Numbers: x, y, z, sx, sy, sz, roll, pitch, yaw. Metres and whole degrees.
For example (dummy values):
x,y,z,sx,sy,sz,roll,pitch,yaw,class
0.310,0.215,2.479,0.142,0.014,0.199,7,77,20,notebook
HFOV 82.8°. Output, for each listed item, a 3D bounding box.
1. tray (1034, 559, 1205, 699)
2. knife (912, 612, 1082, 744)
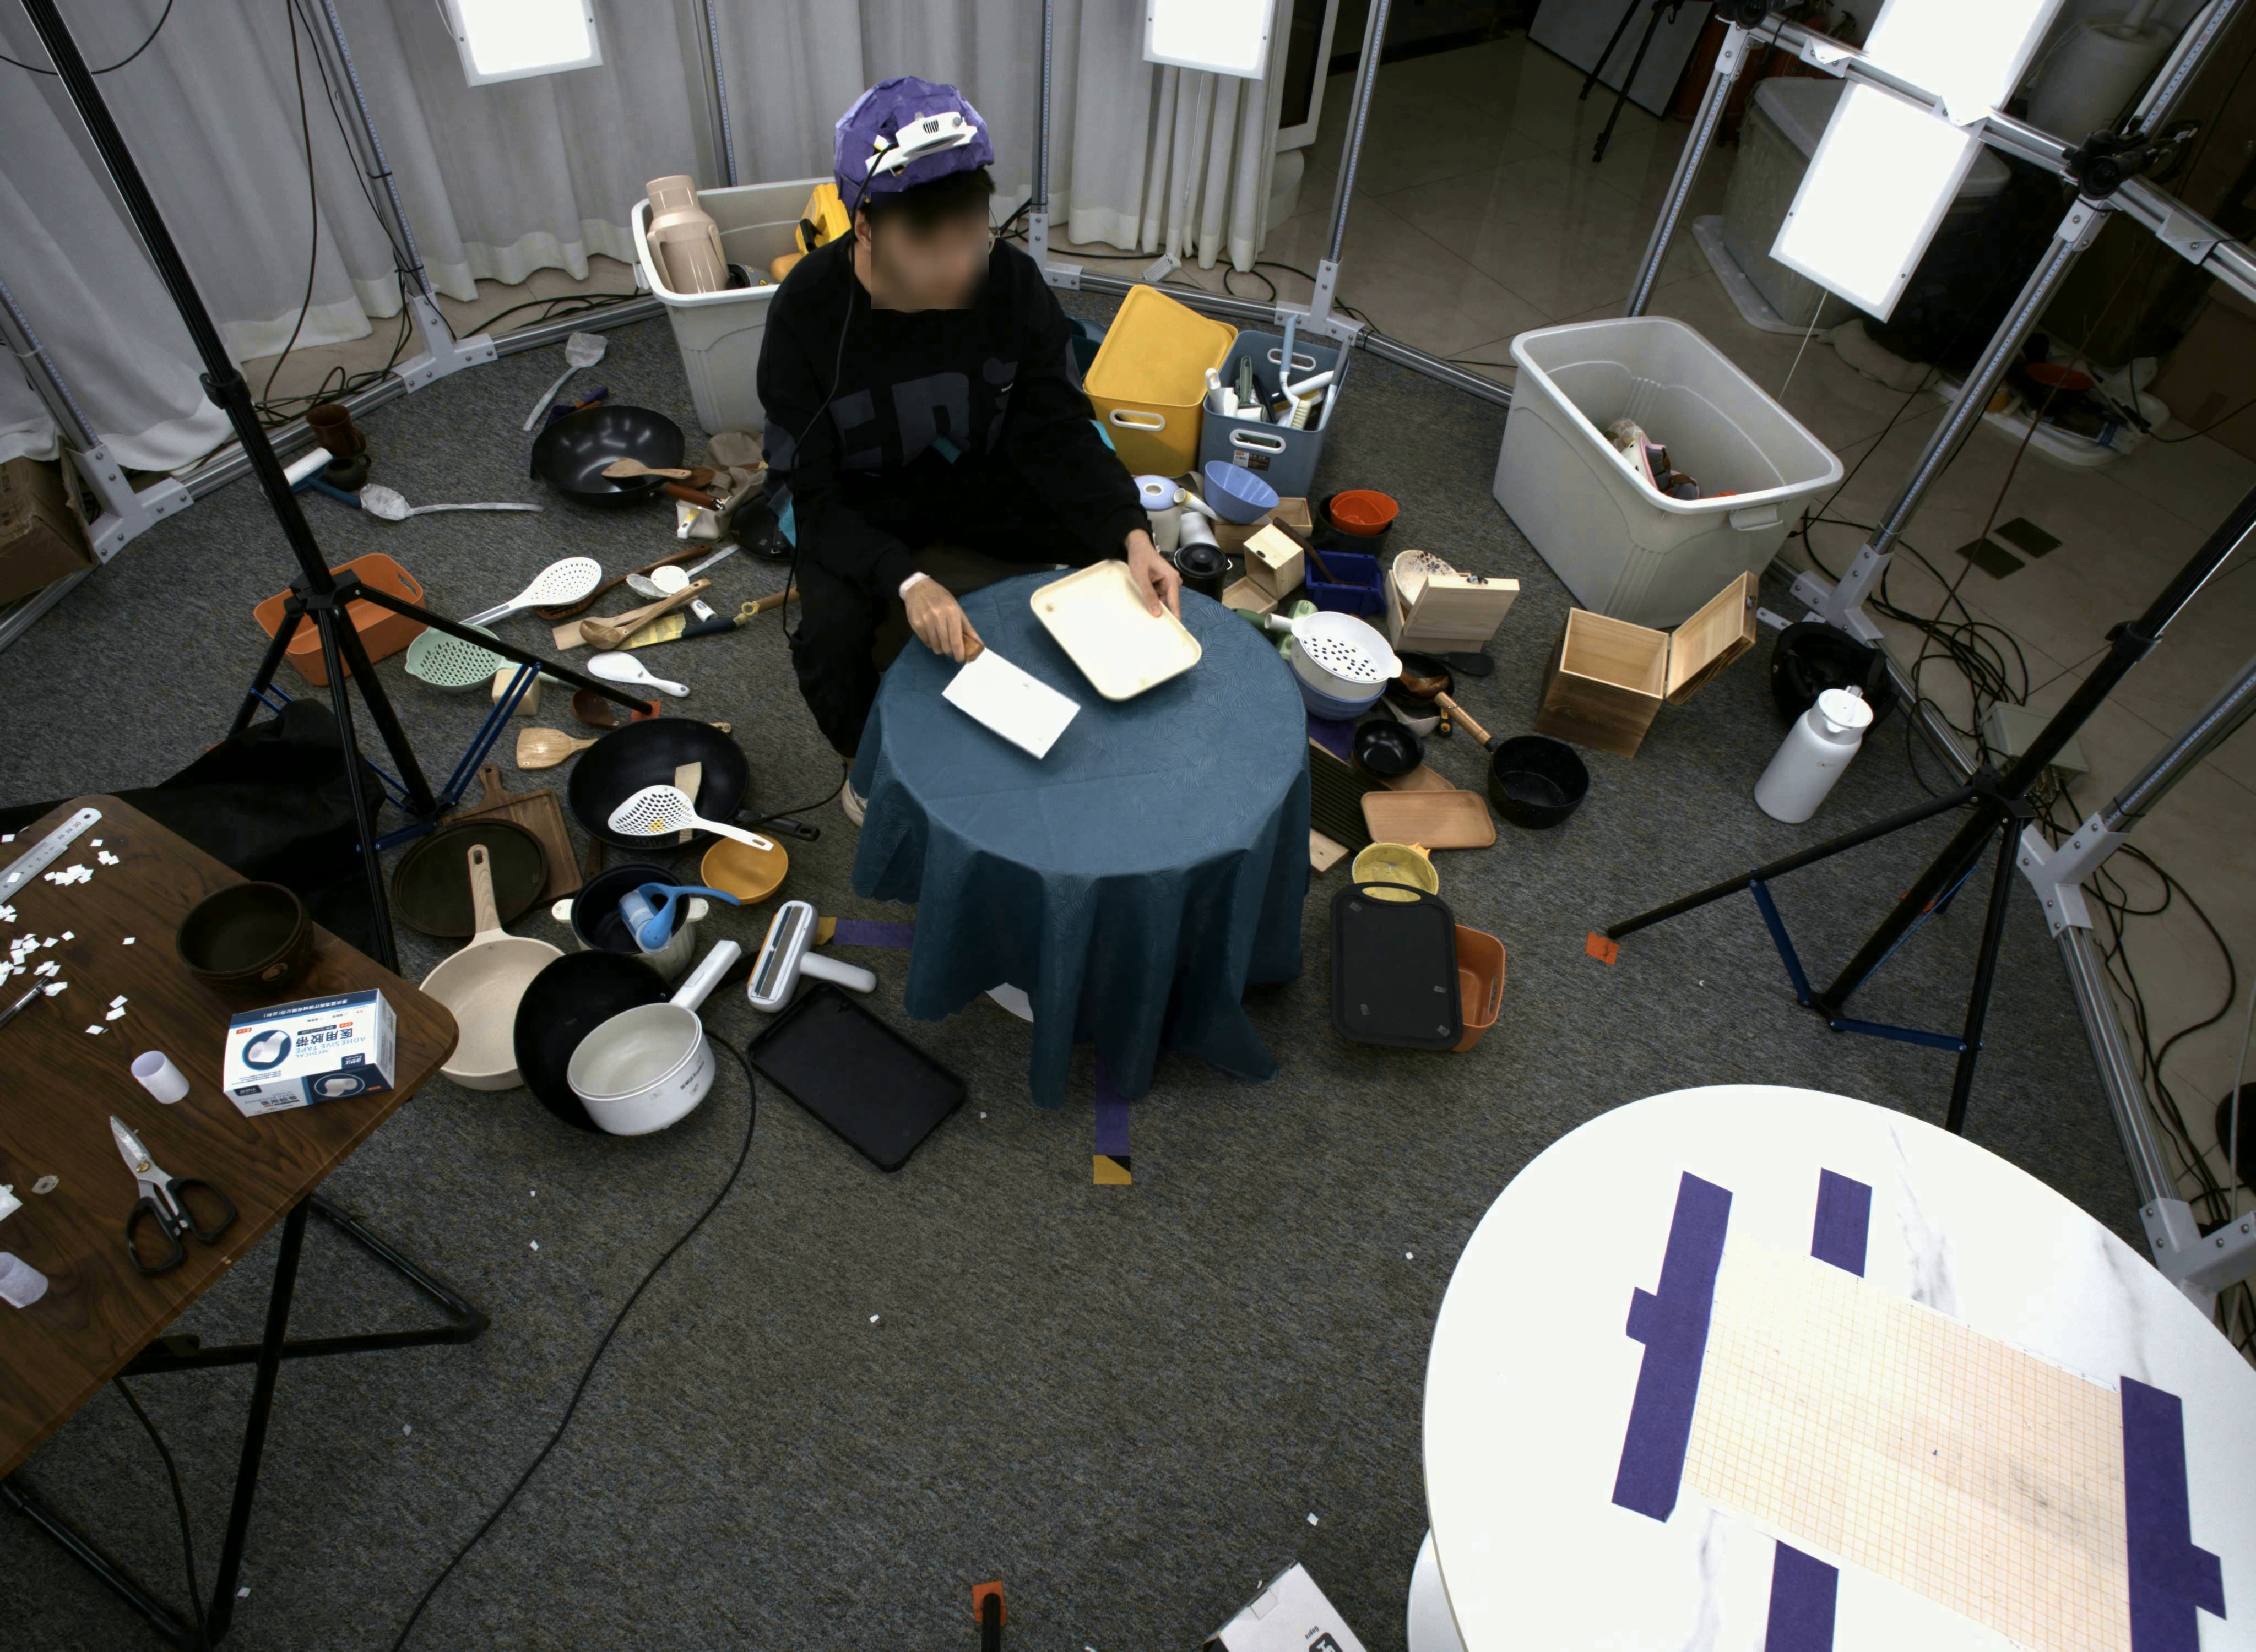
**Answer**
x,y,z,sx,sy,sz,roll,pitch,yaw,class
-0.014,-0.287,1.864,0.172,0.017,0.244,-27,60,-20,tray
-0.199,-0.203,1.778,0.310,0.020,0.093,32,80,27,knife
